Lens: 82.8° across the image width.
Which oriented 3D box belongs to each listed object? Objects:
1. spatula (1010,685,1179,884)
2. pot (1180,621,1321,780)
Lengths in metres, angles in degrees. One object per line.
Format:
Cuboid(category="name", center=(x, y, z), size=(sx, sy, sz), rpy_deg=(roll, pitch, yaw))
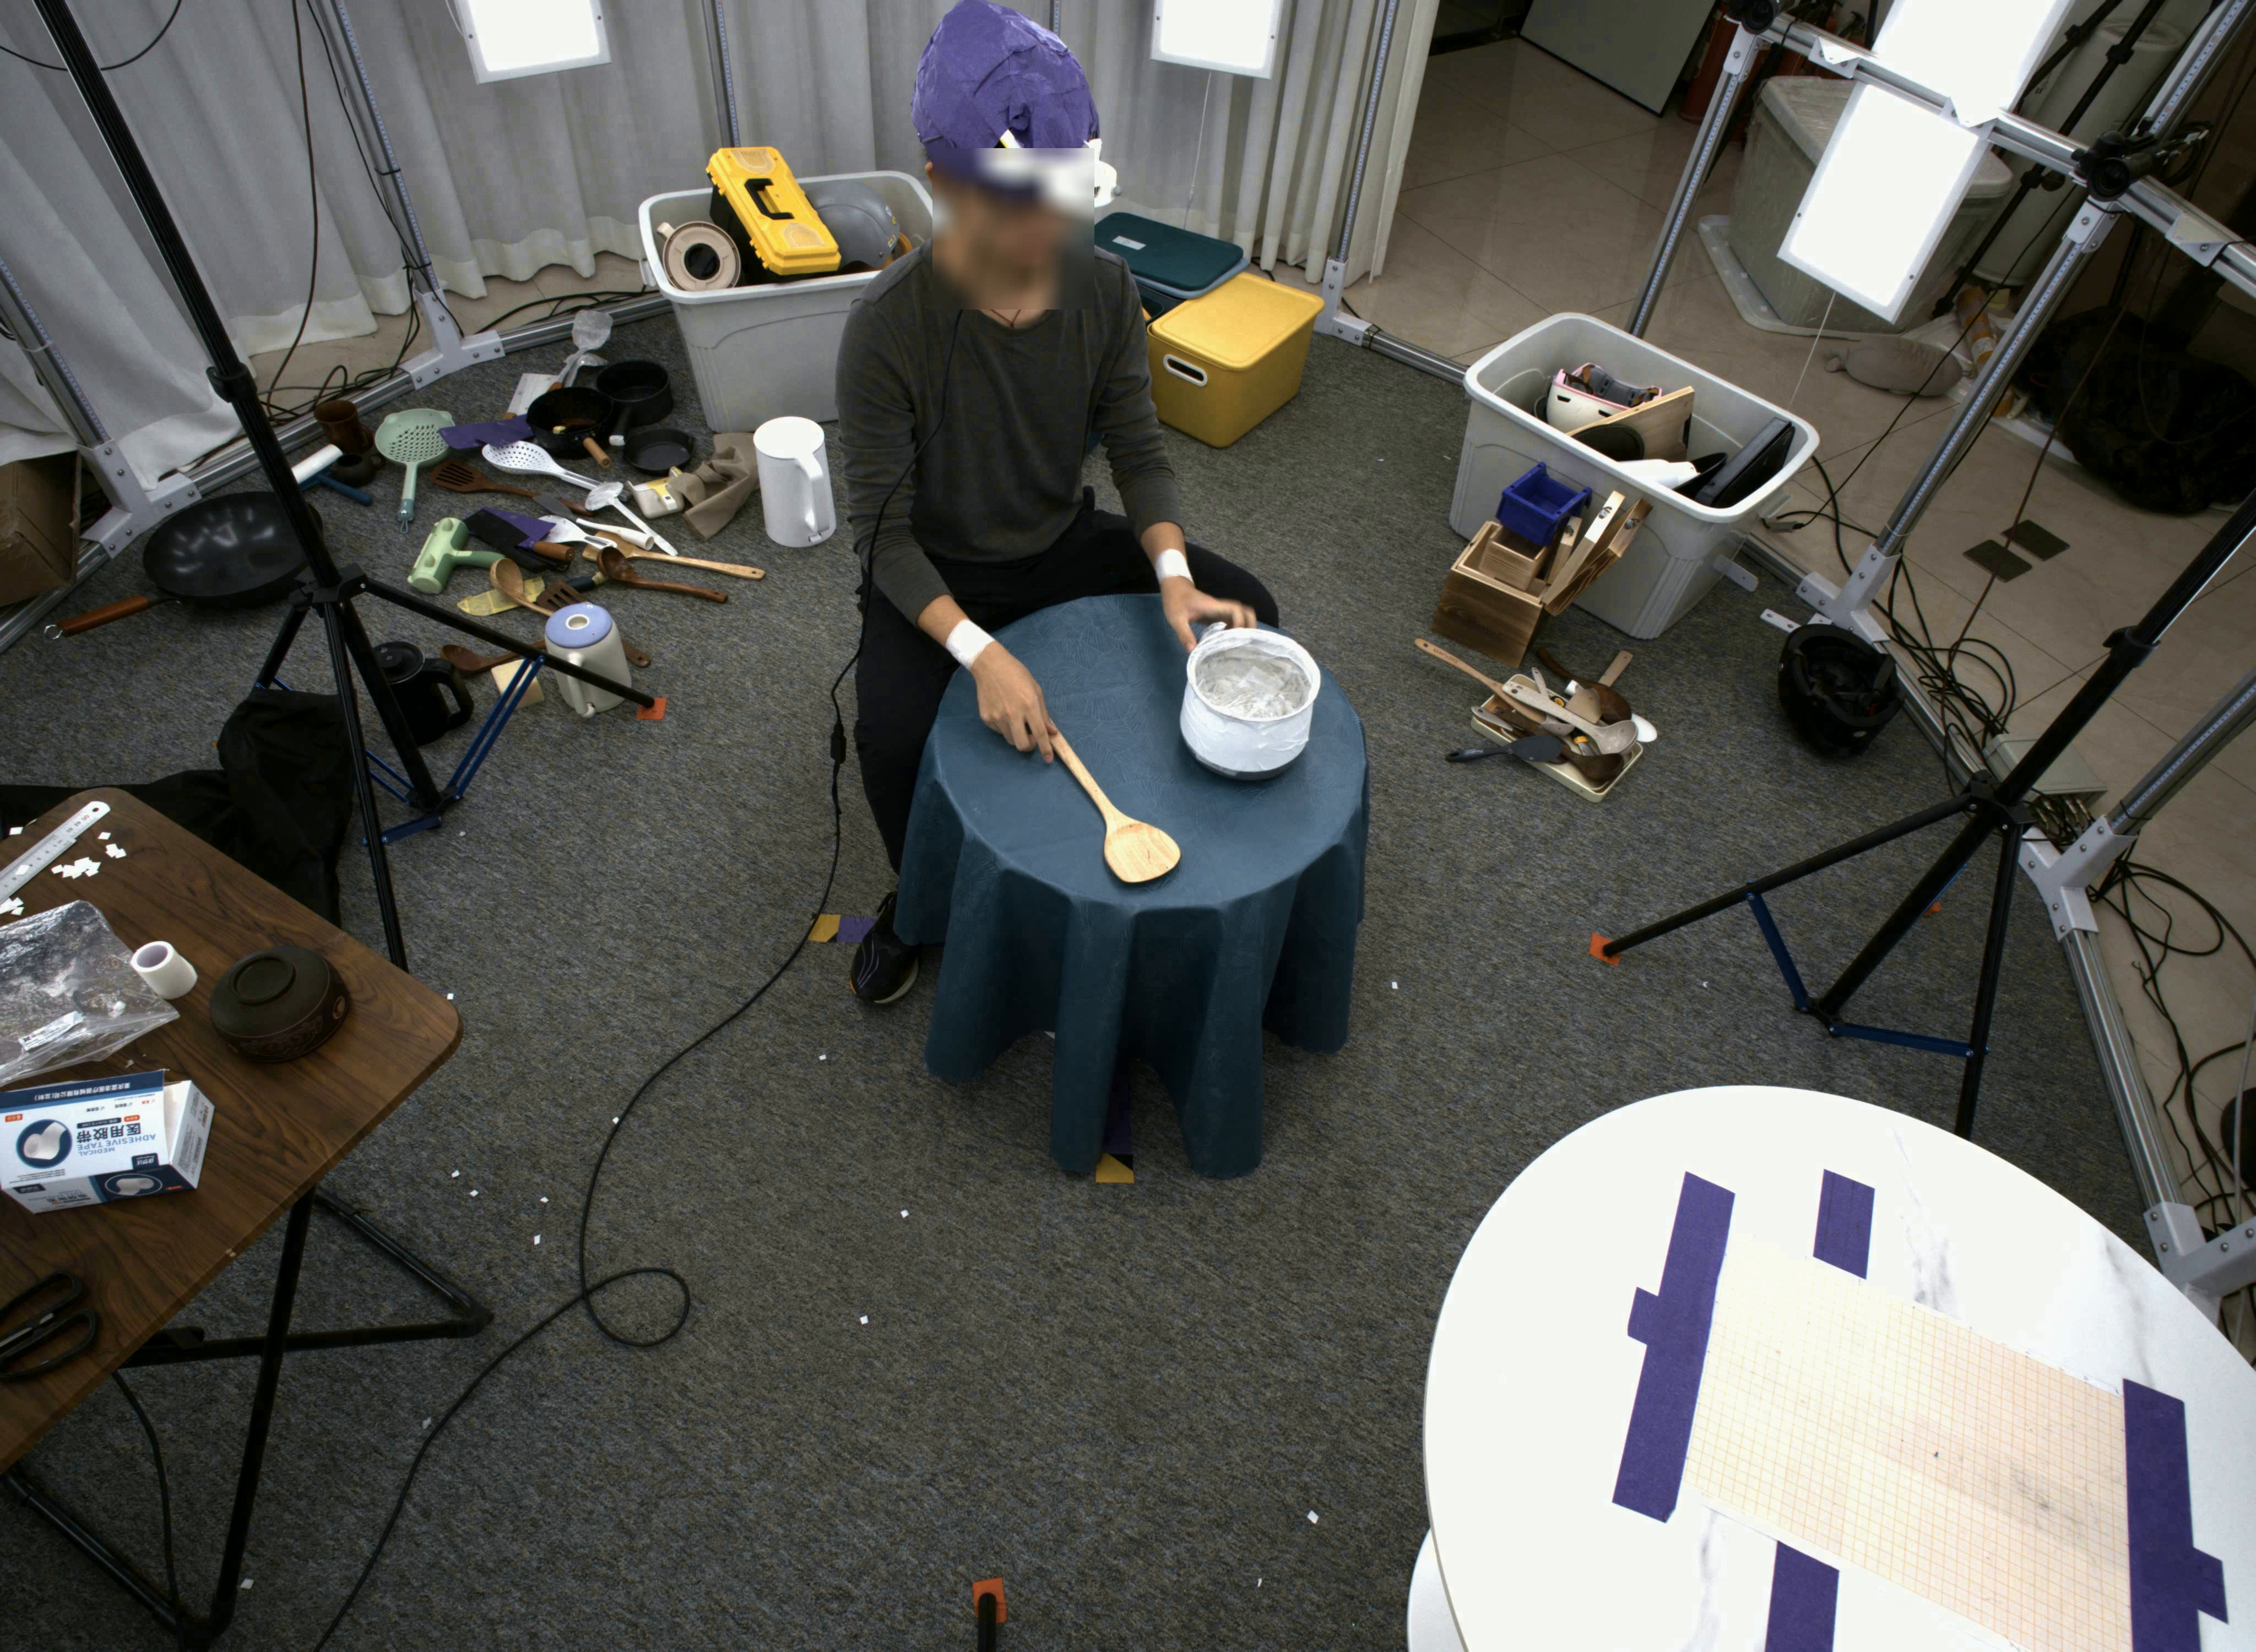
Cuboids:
Cuboid(category="spatula", center=(-0.065, -0.065, 1.708), size=(0.096, 0.018, 0.399), rpy_deg=(-21, 54, -22))
Cuboid(category="pot", center=(0.150, -0.180, 1.746), size=(0.179, 0.133, 0.239), rpy_deg=(-17, 52, -18))
